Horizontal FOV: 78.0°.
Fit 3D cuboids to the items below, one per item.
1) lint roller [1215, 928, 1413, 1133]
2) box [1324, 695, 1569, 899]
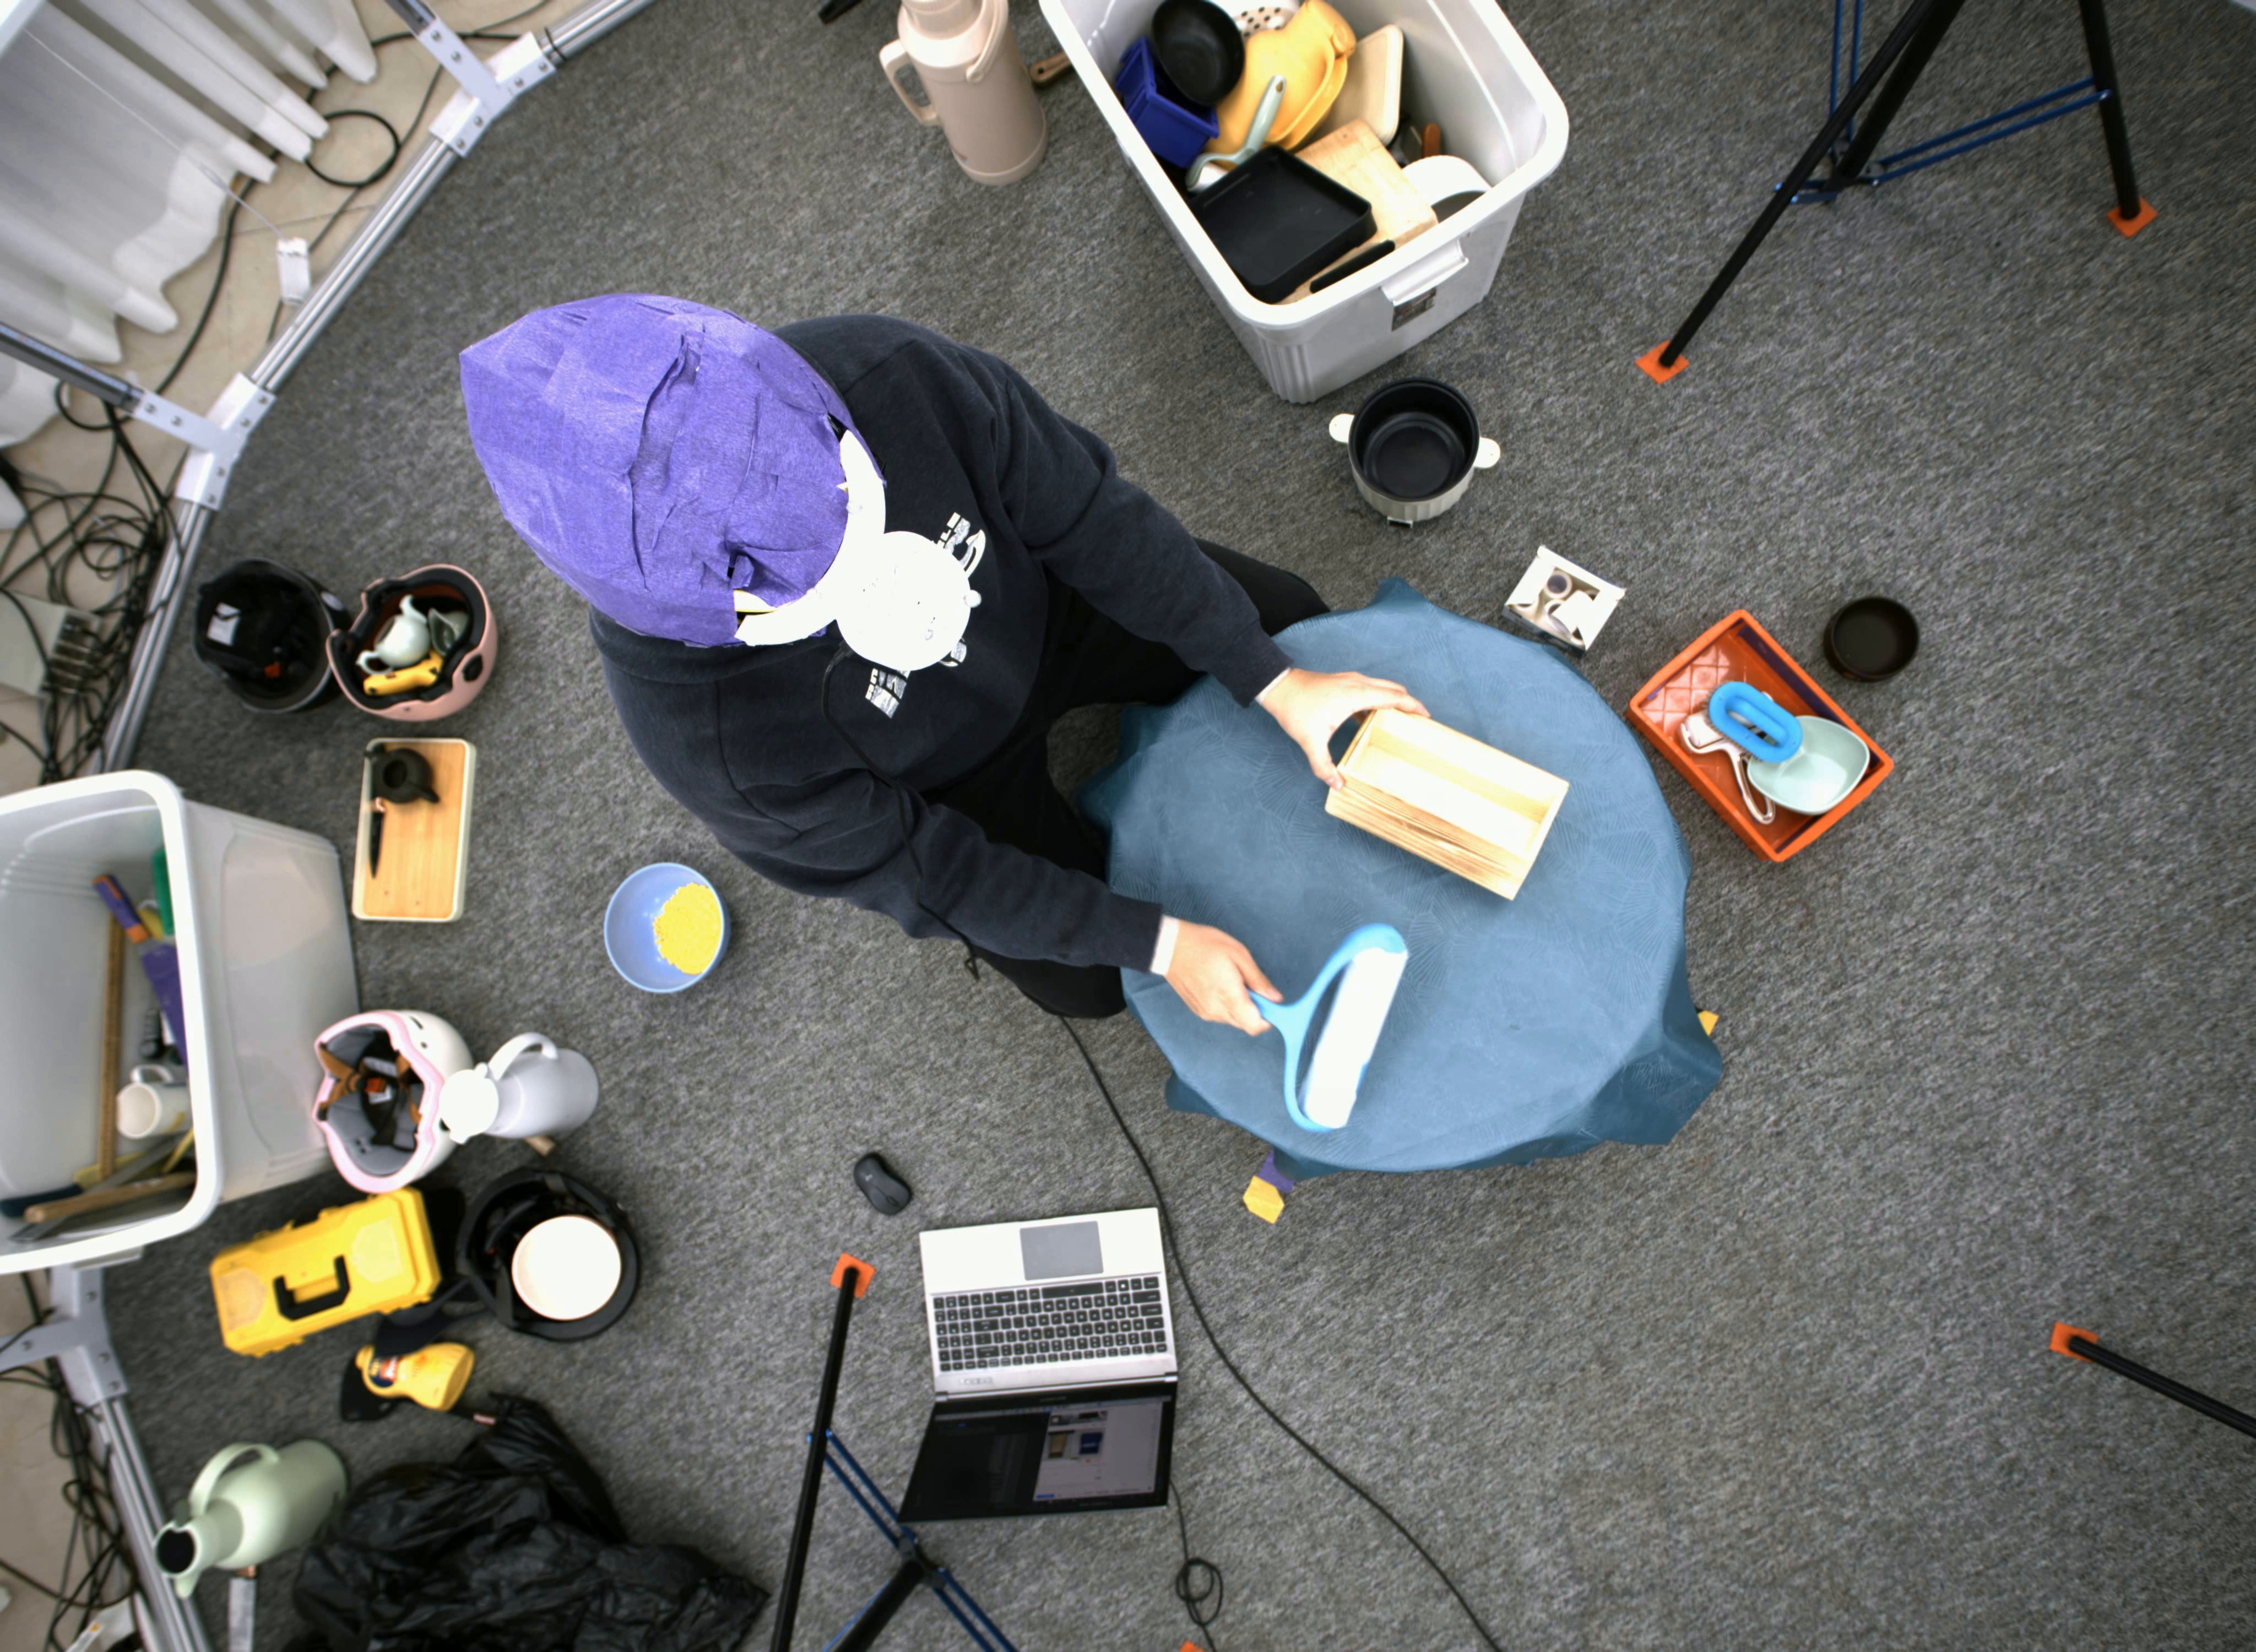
[{"bbox_3d":[0.171,0.190,1.392,0.180,0.067,0.233,16,110,4],"label":"lint roller"},{"bbox_3d":[0.320,-0.032,1.392,0.211,0.082,0.105,26,64,12],"label":"box"}]
